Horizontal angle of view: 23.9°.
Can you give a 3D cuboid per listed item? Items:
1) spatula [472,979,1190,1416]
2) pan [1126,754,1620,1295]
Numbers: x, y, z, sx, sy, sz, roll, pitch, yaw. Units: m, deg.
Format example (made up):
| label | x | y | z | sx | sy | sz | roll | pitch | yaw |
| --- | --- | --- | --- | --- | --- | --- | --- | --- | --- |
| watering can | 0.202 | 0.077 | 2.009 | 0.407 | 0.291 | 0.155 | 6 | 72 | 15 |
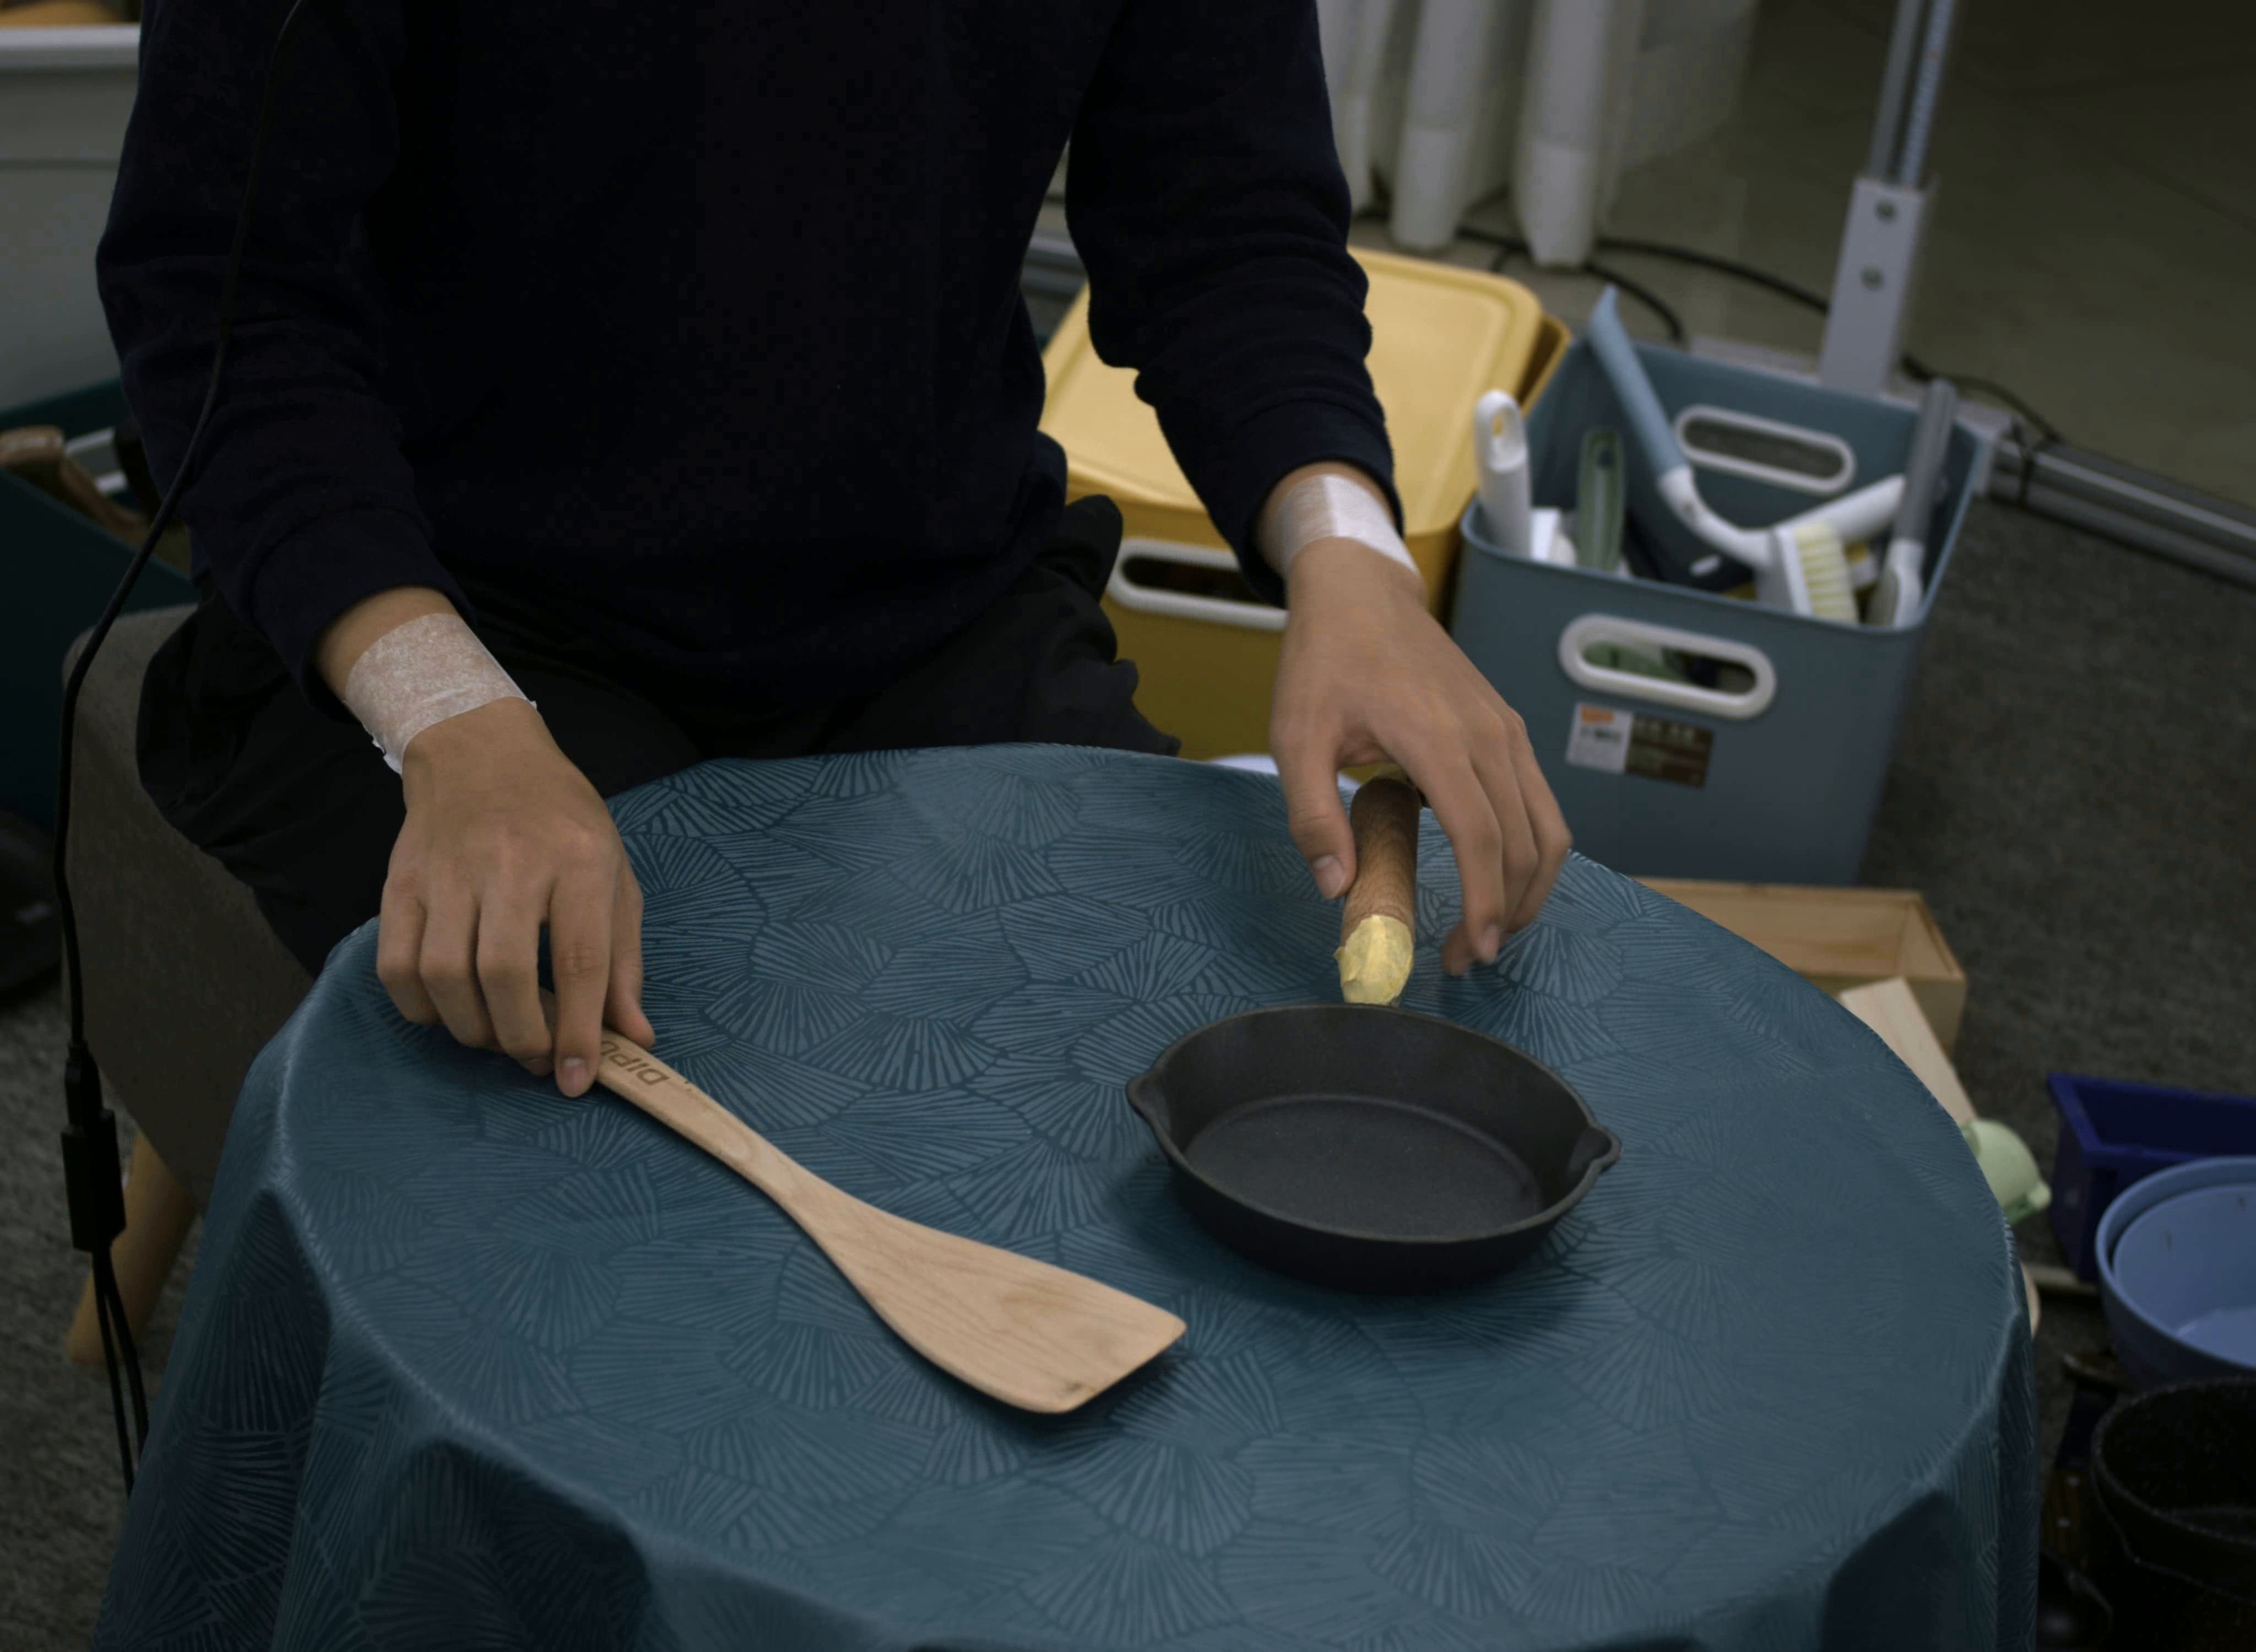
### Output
| label | x | y | z | sx | sy | sz | roll | pitch | yaw |
| --- | --- | --- | --- | --- | --- | --- | --- | --- | --- |
| spatula | -0.110 | 0.117 | 1.774 | 0.079 | 0.016 | 0.330 | -19 | 36 | -41 |
| pan | 0.089 | 0.067 | 1.879 | 0.168 | 0.049 | 0.326 | 7 | 29 | 2 |
